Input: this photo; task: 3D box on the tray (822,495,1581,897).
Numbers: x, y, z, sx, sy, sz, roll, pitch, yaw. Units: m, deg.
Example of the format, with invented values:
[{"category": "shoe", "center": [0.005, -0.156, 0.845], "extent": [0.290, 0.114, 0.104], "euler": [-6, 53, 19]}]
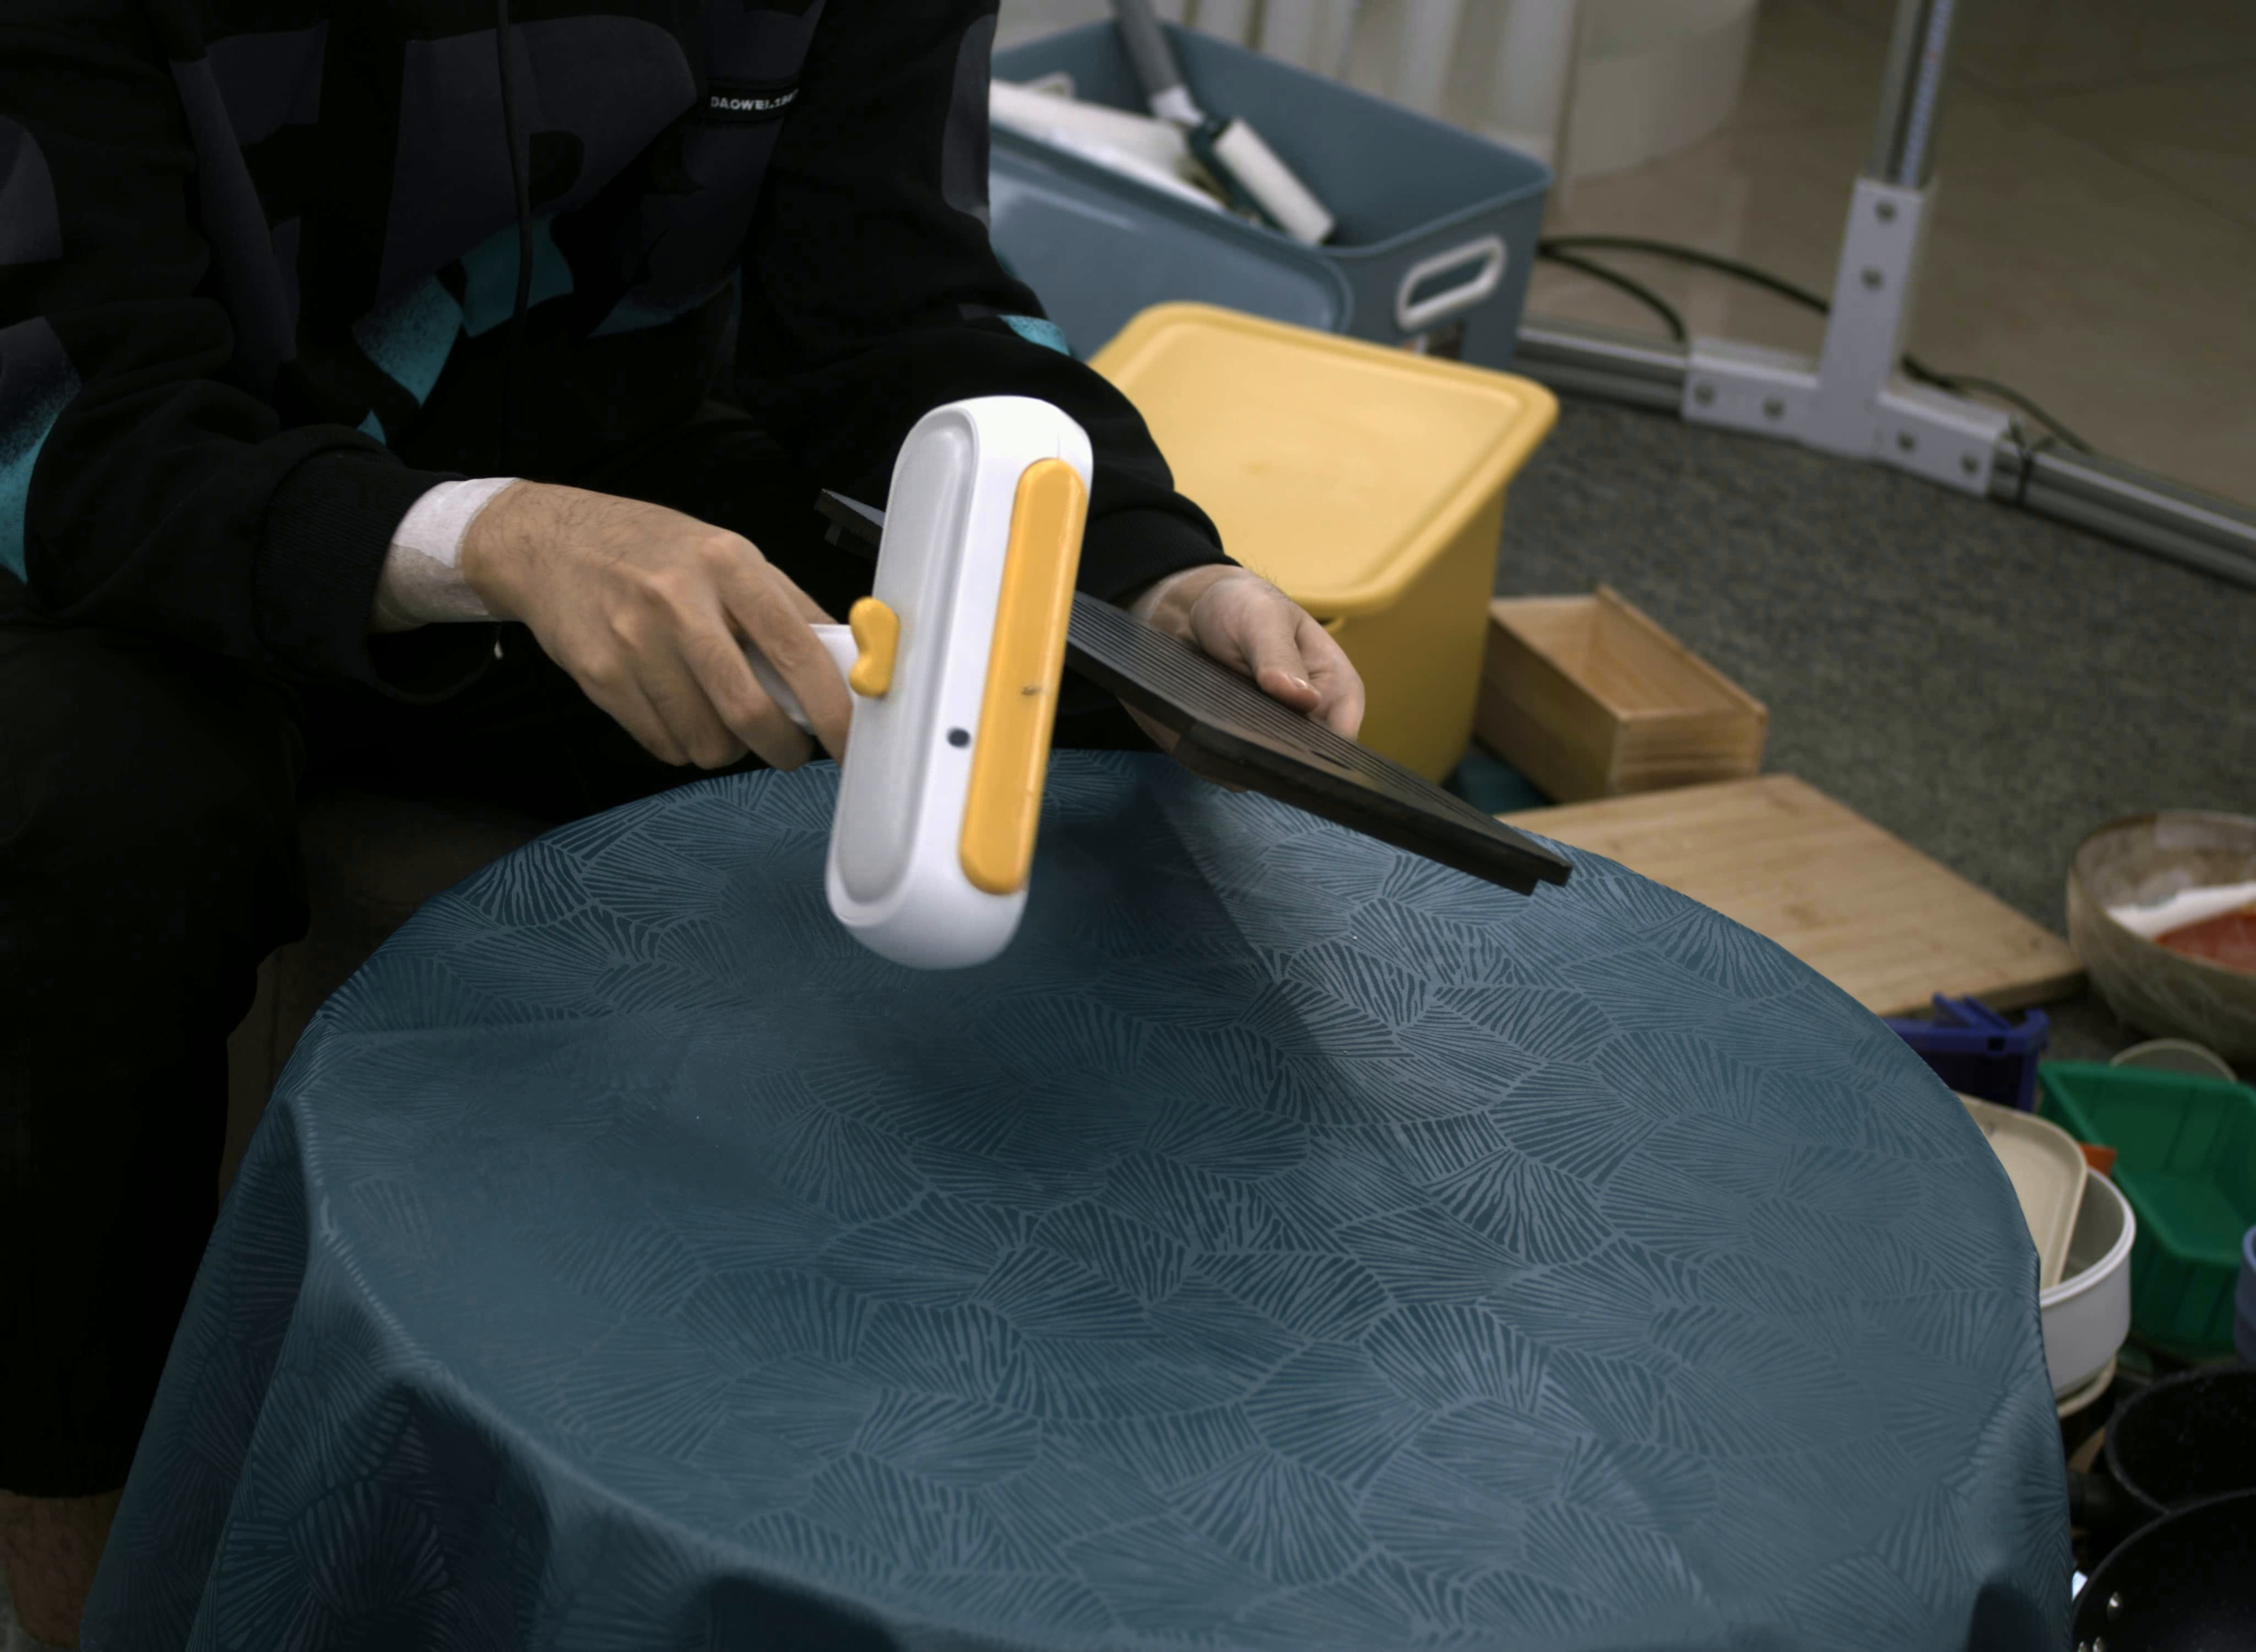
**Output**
[{"category": "tray", "center": [0.019, -0.047, 1.891], "extent": [0.168, 0.018, 0.308], "euler": [21, 7, -33]}]

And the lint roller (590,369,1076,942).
[{"category": "lint roller", "center": [-0.102, -0.052, 1.793], "extent": [0.073, 0.194, 0.193], "euler": [16, -17, -40]}]
